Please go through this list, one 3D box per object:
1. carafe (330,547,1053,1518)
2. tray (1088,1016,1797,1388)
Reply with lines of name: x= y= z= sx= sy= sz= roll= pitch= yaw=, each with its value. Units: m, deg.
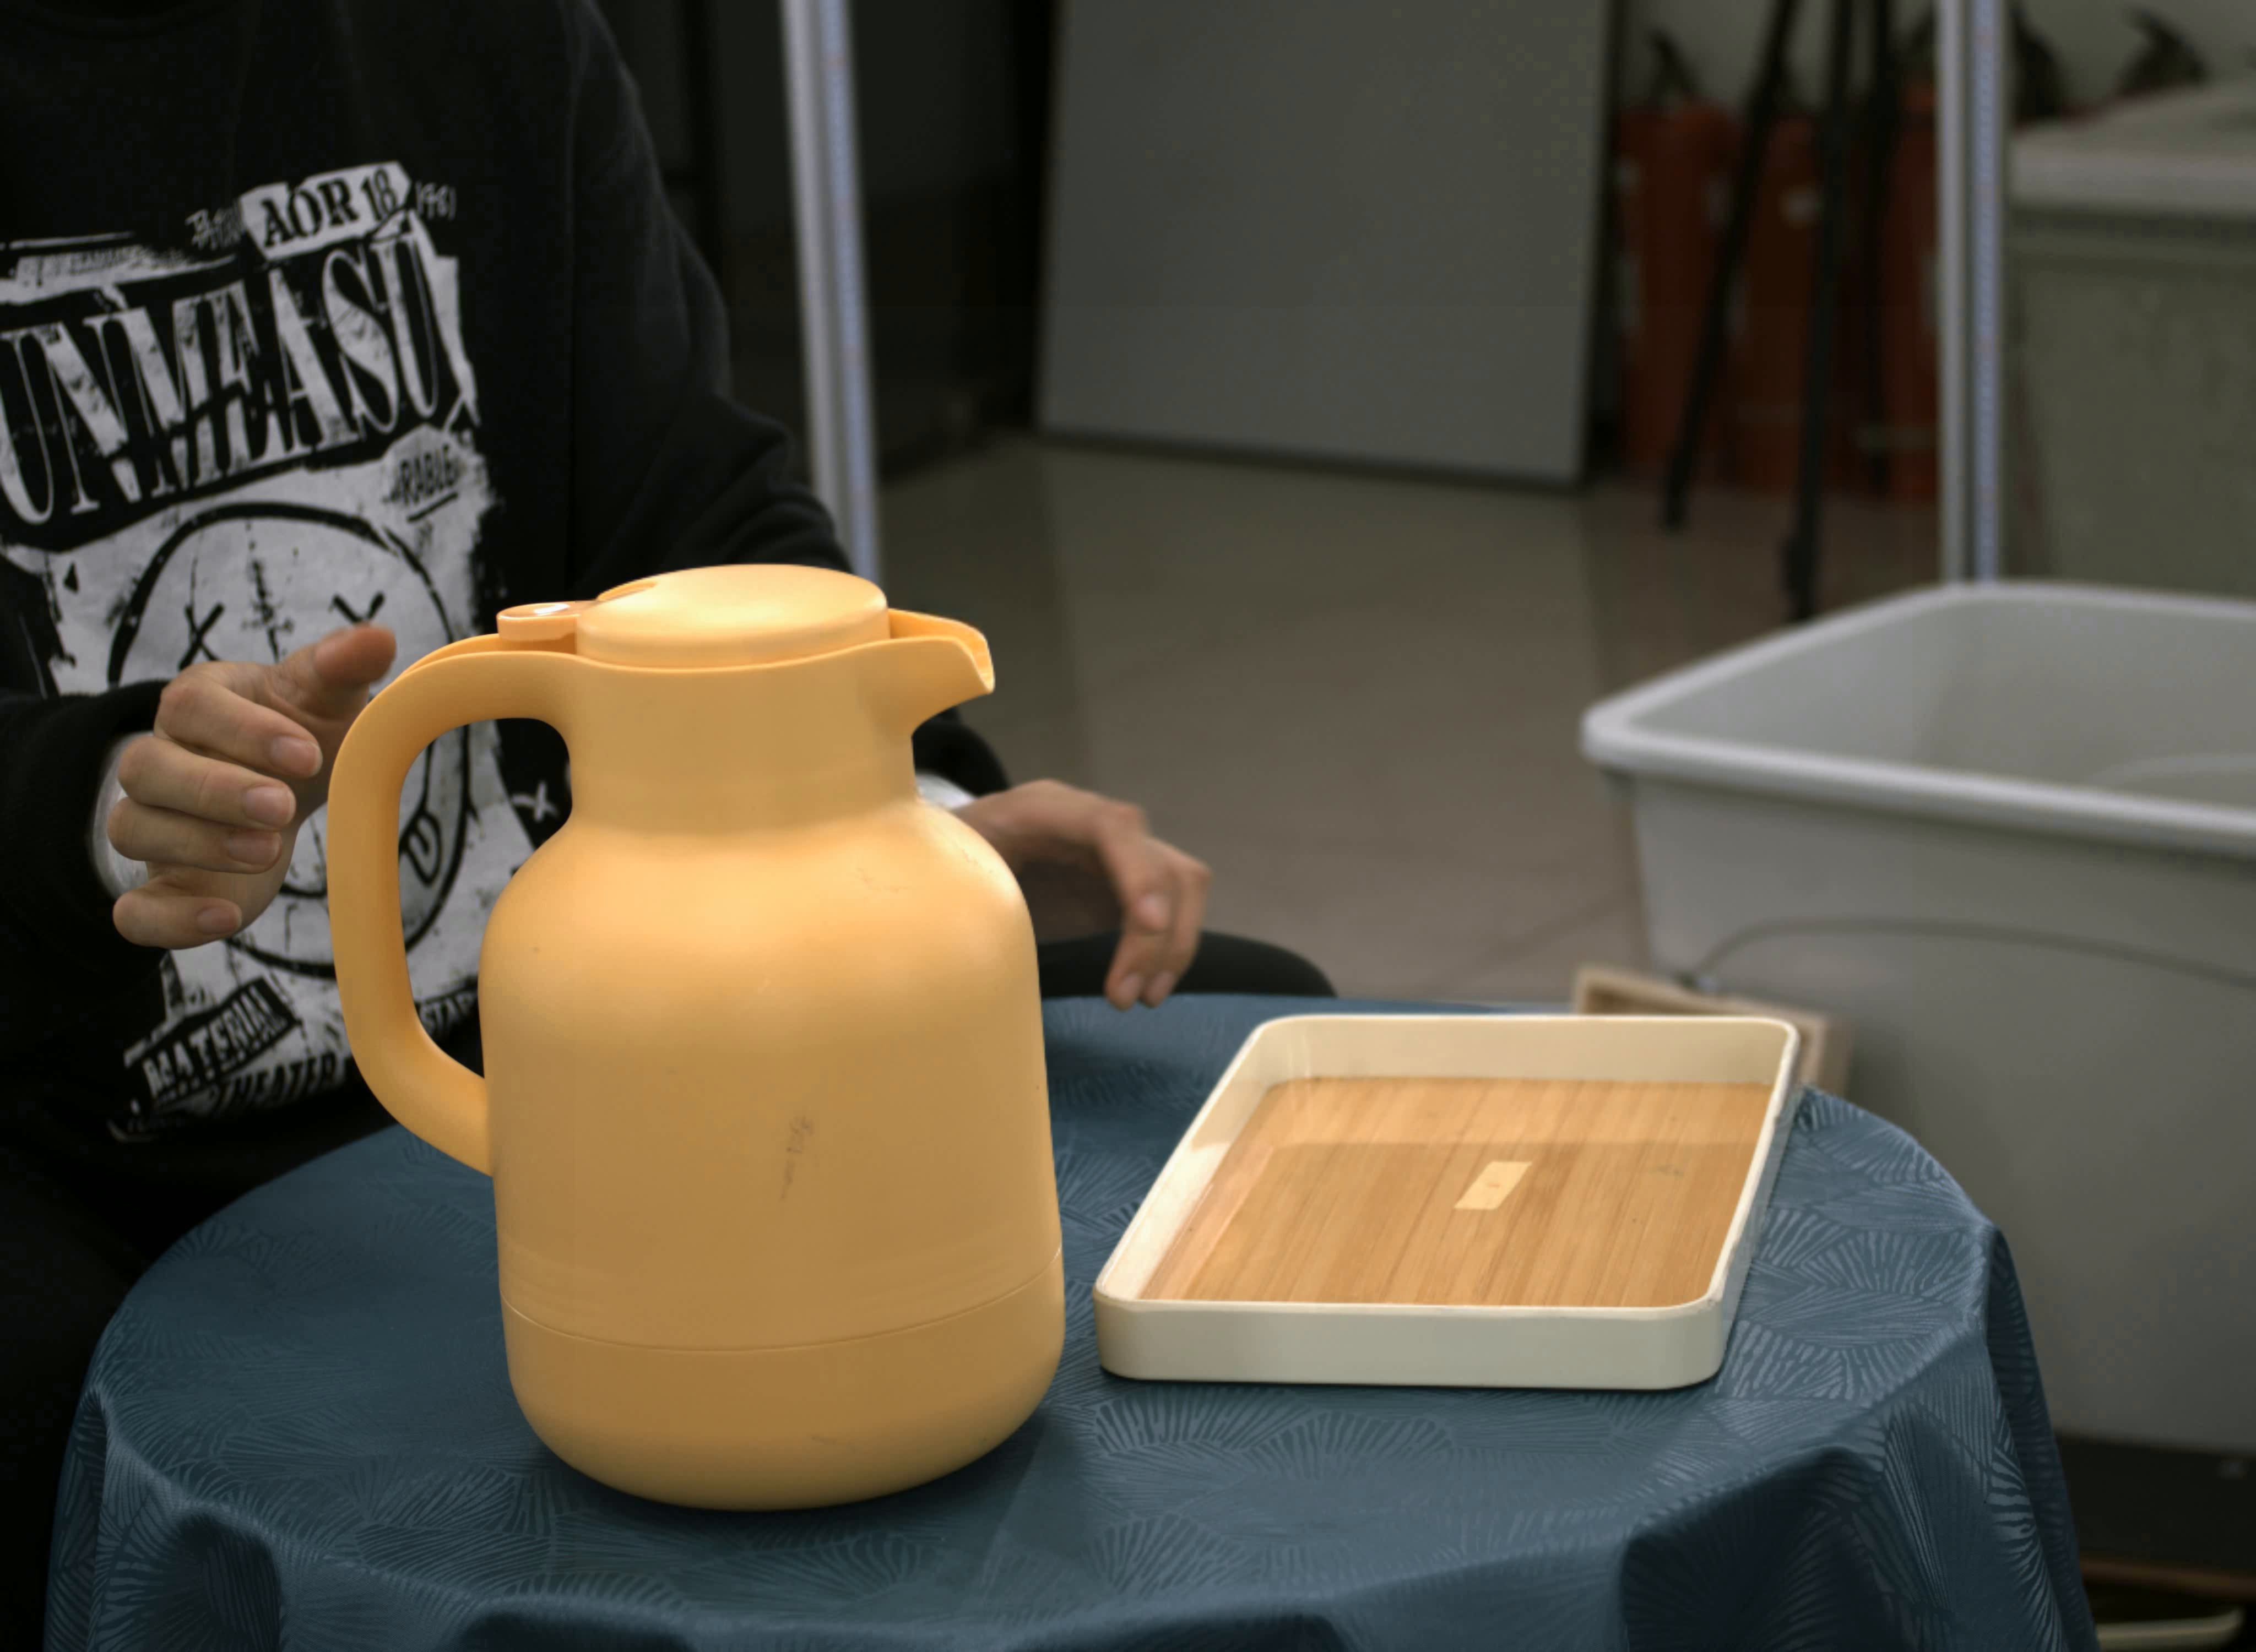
carafe: x=-0.124 y=0.054 z=1.539 sx=0.201 sy=0.263 sz=0.162 roll=0 pitch=11 yaw=11
tray: x=0.107 y=0.115 z=1.710 sx=0.190 sy=0.028 sz=0.298 roll=-1 pitch=14 yaw=13
